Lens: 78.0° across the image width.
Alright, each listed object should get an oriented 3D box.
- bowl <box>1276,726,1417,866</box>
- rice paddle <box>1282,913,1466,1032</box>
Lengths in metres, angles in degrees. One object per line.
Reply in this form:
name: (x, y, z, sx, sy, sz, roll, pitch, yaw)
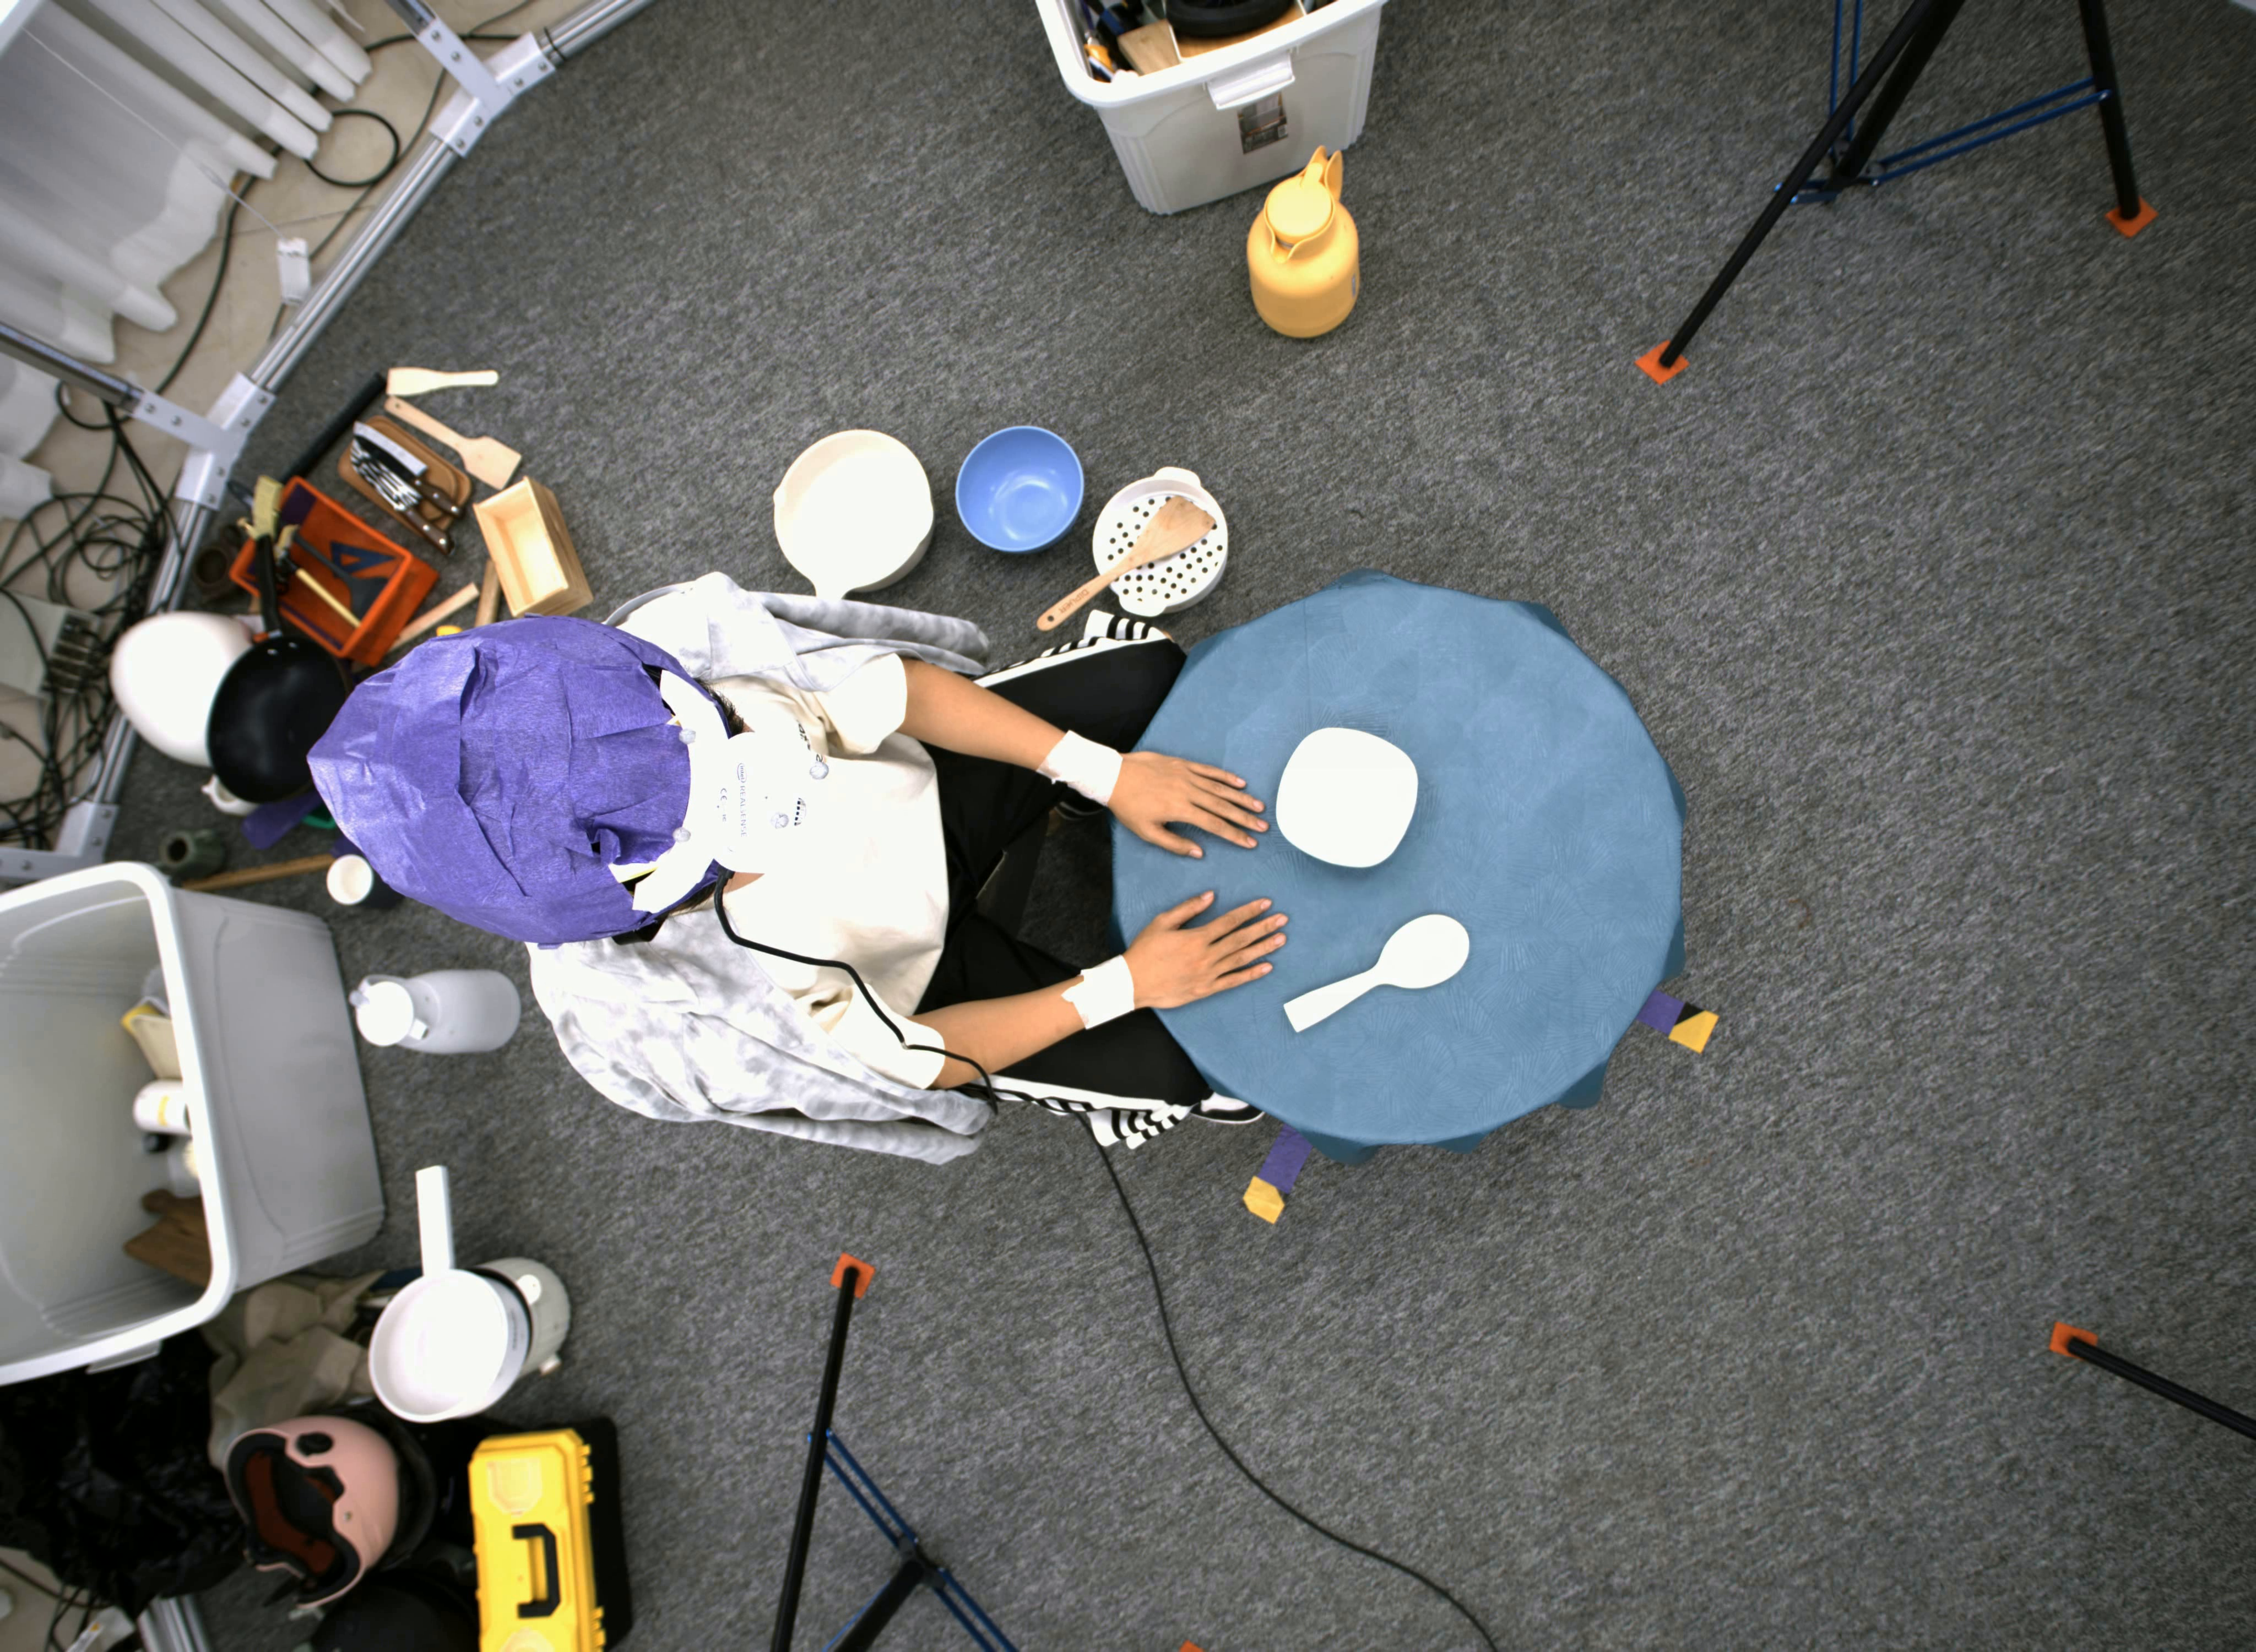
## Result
bowl: (0.228, -0.030, 1.443, 0.152, 0.058, 0.151, 0, 88, 9)
rice paddle: (0.258, 0.153, 1.441, 0.206, 0.029, 0.068, -28, 84, 8)
